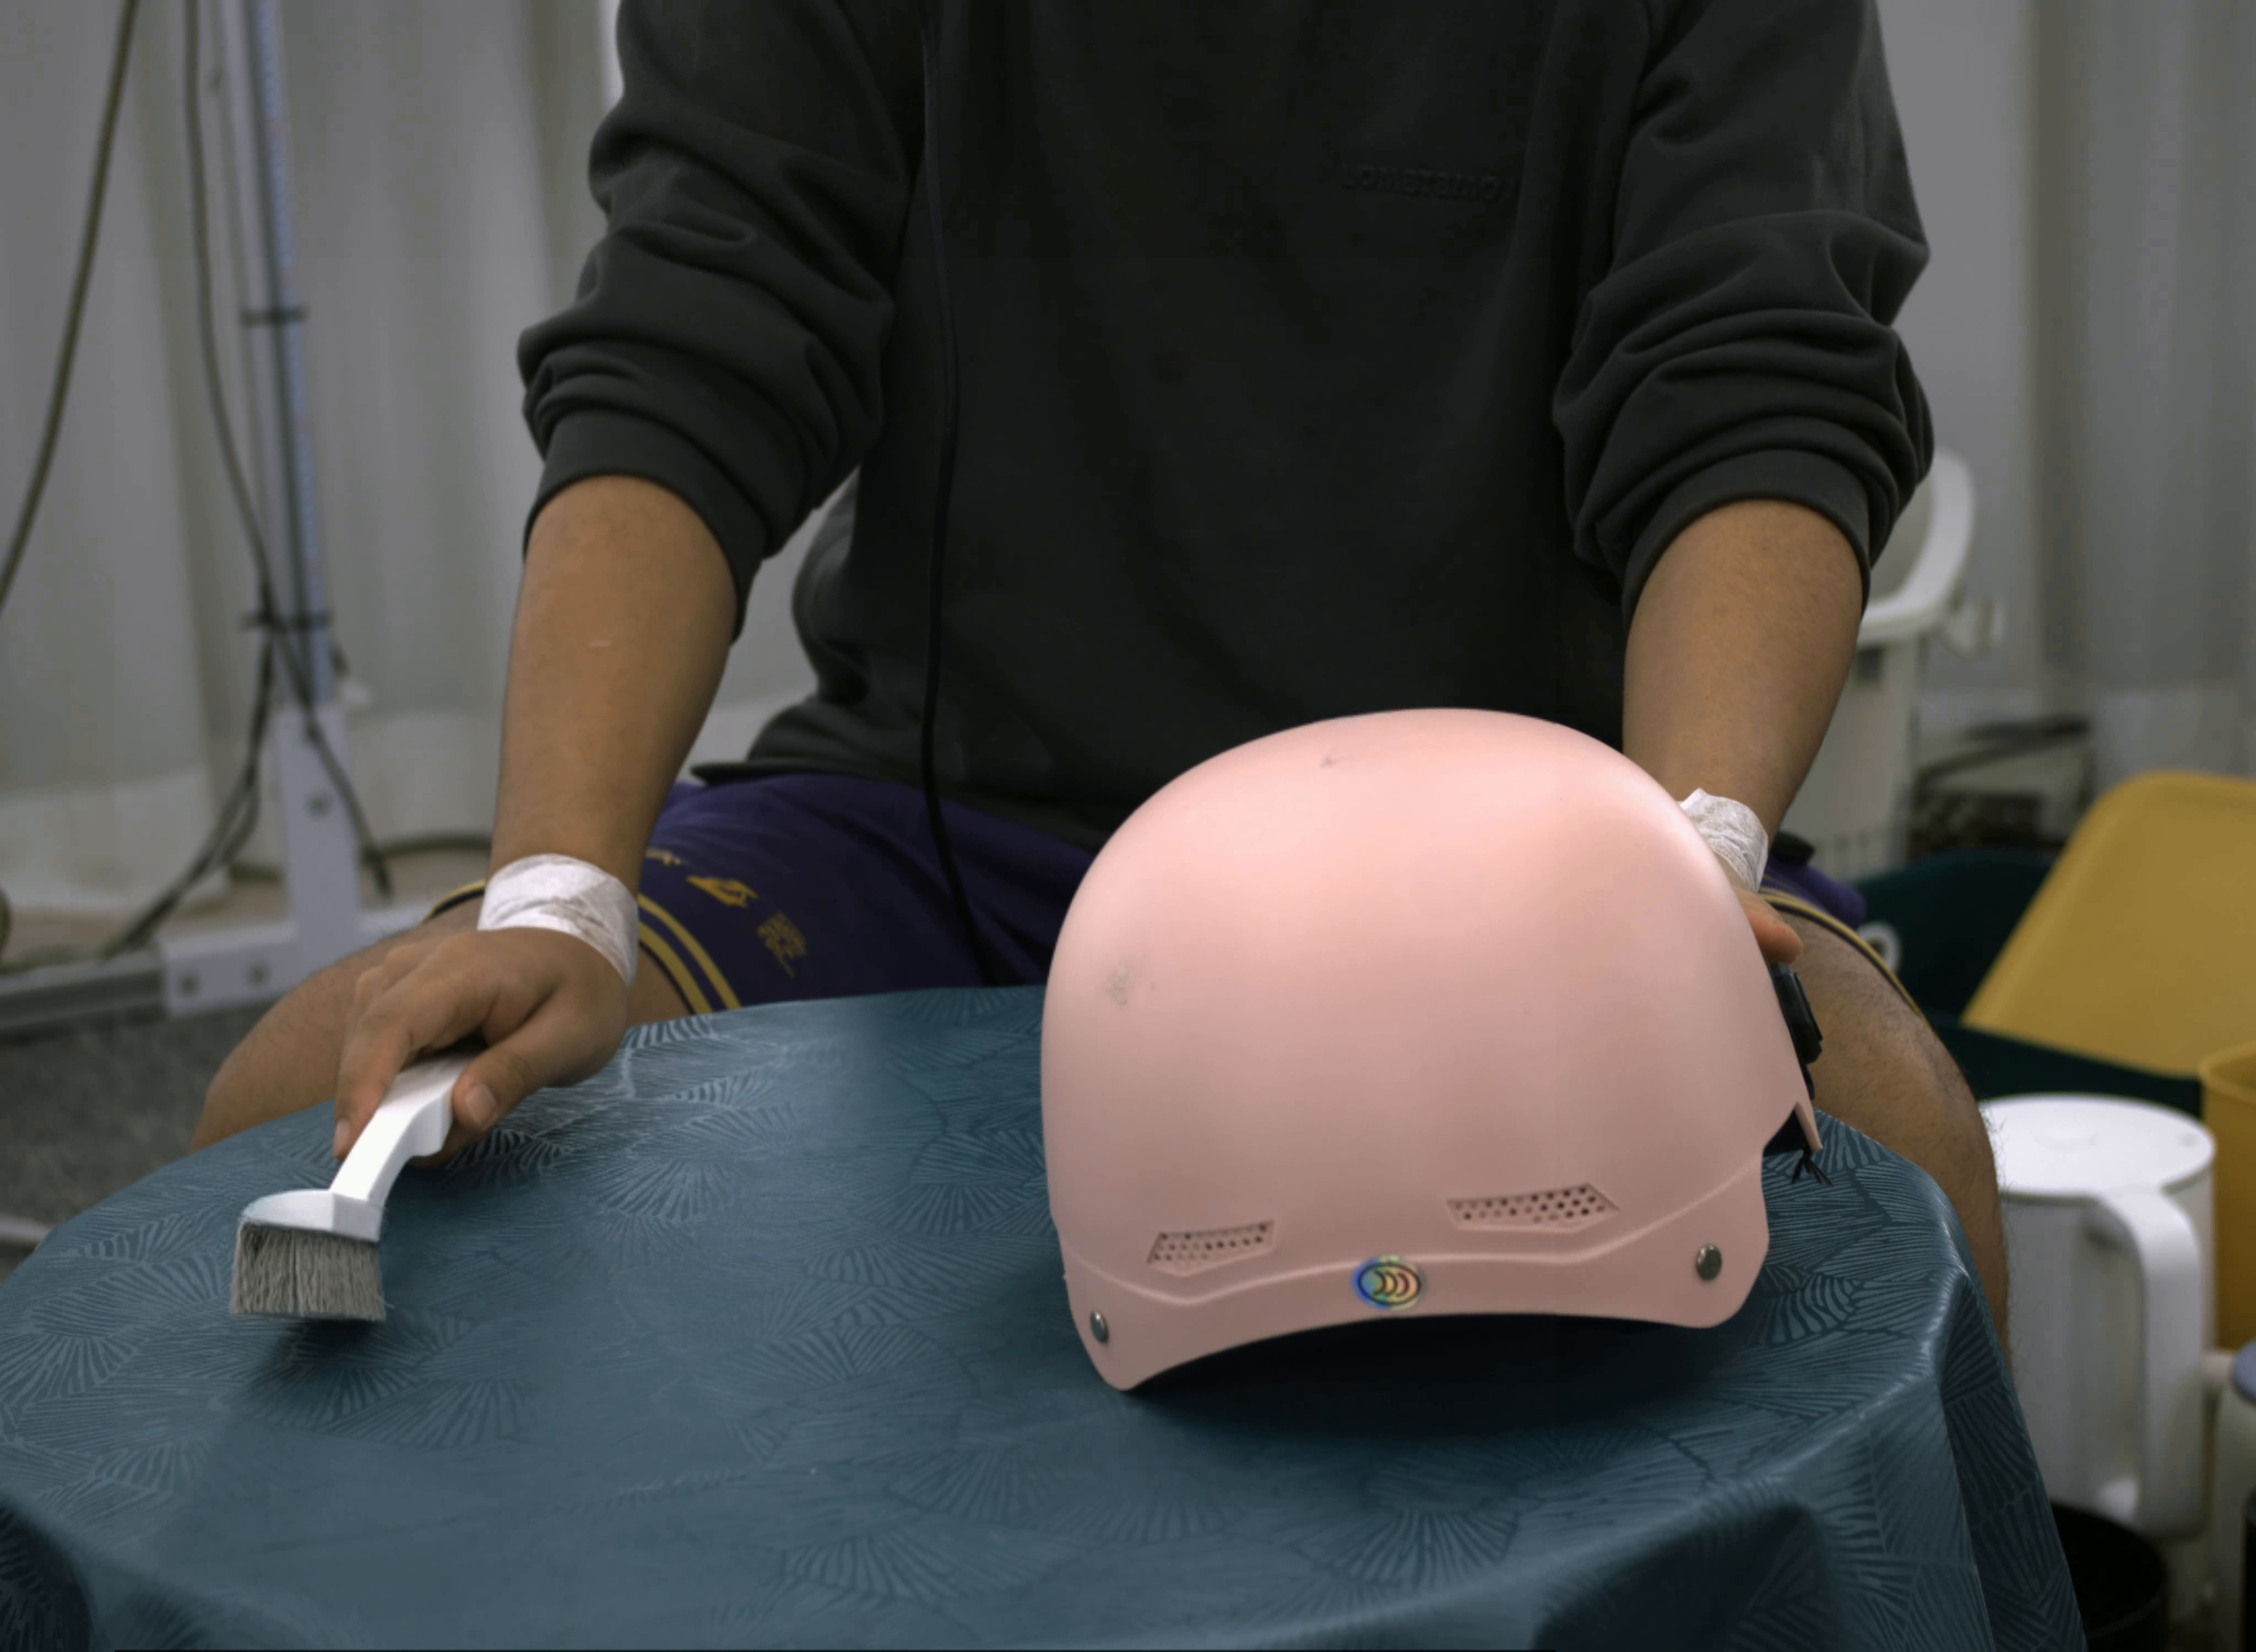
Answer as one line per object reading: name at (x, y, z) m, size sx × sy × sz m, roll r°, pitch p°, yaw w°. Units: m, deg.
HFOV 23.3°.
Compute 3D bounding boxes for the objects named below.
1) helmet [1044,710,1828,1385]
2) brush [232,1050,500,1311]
helmet at (0.079, 0.045, 1.590) m, size 0.233 × 0.158 × 0.268 m, roll -9°, pitch 16°, yaw 12°
brush at (-0.230, 0.112, 1.695) m, size 0.034 × 0.050 × 0.244 m, roll -4°, pitch 8°, yaw 7°
